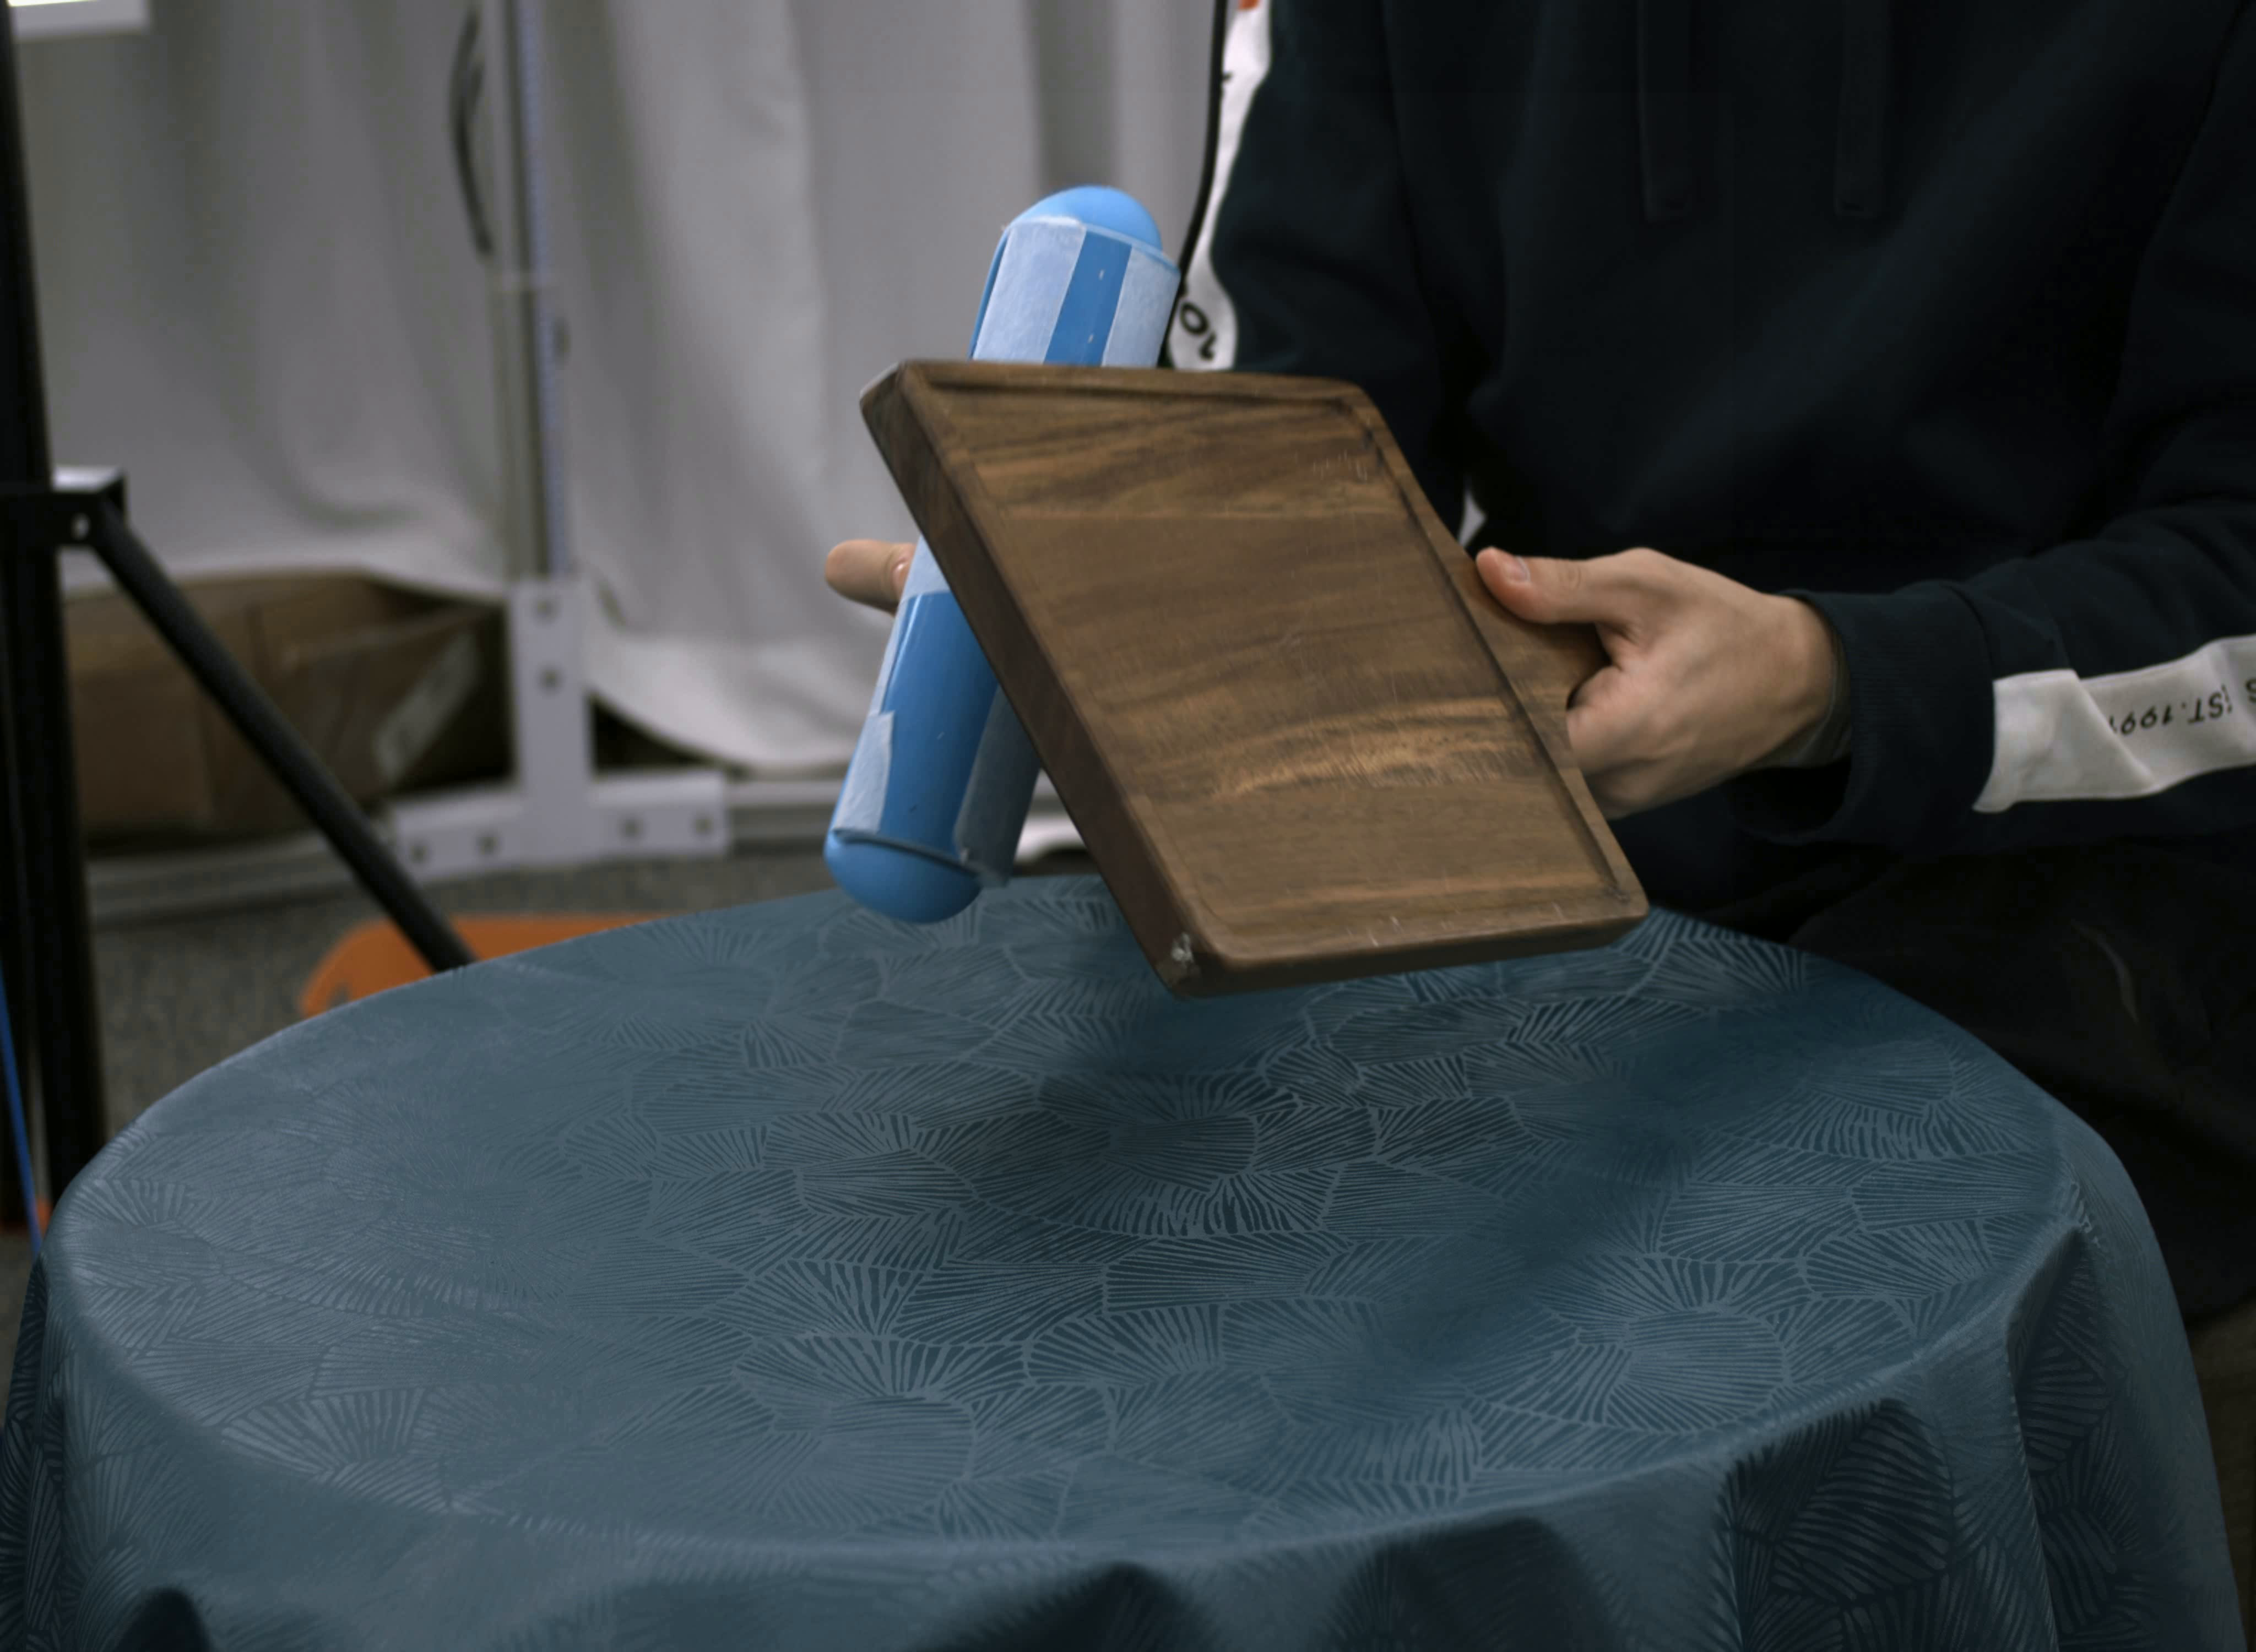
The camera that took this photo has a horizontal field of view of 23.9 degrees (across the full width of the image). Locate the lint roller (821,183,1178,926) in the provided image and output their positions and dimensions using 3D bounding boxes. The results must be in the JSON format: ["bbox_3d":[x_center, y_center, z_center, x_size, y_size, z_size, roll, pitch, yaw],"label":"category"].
[{"bbox_3d":[-0.034,-0.067,1.630,0.068,0.230,0.179,14,-12,7],"label":"lint roller"}]

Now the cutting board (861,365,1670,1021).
[{"bbox_3d":[0.069,-0.046,1.558,0.023,0.203,0.344,-37,-18,30],"label":"cutting board"}]
